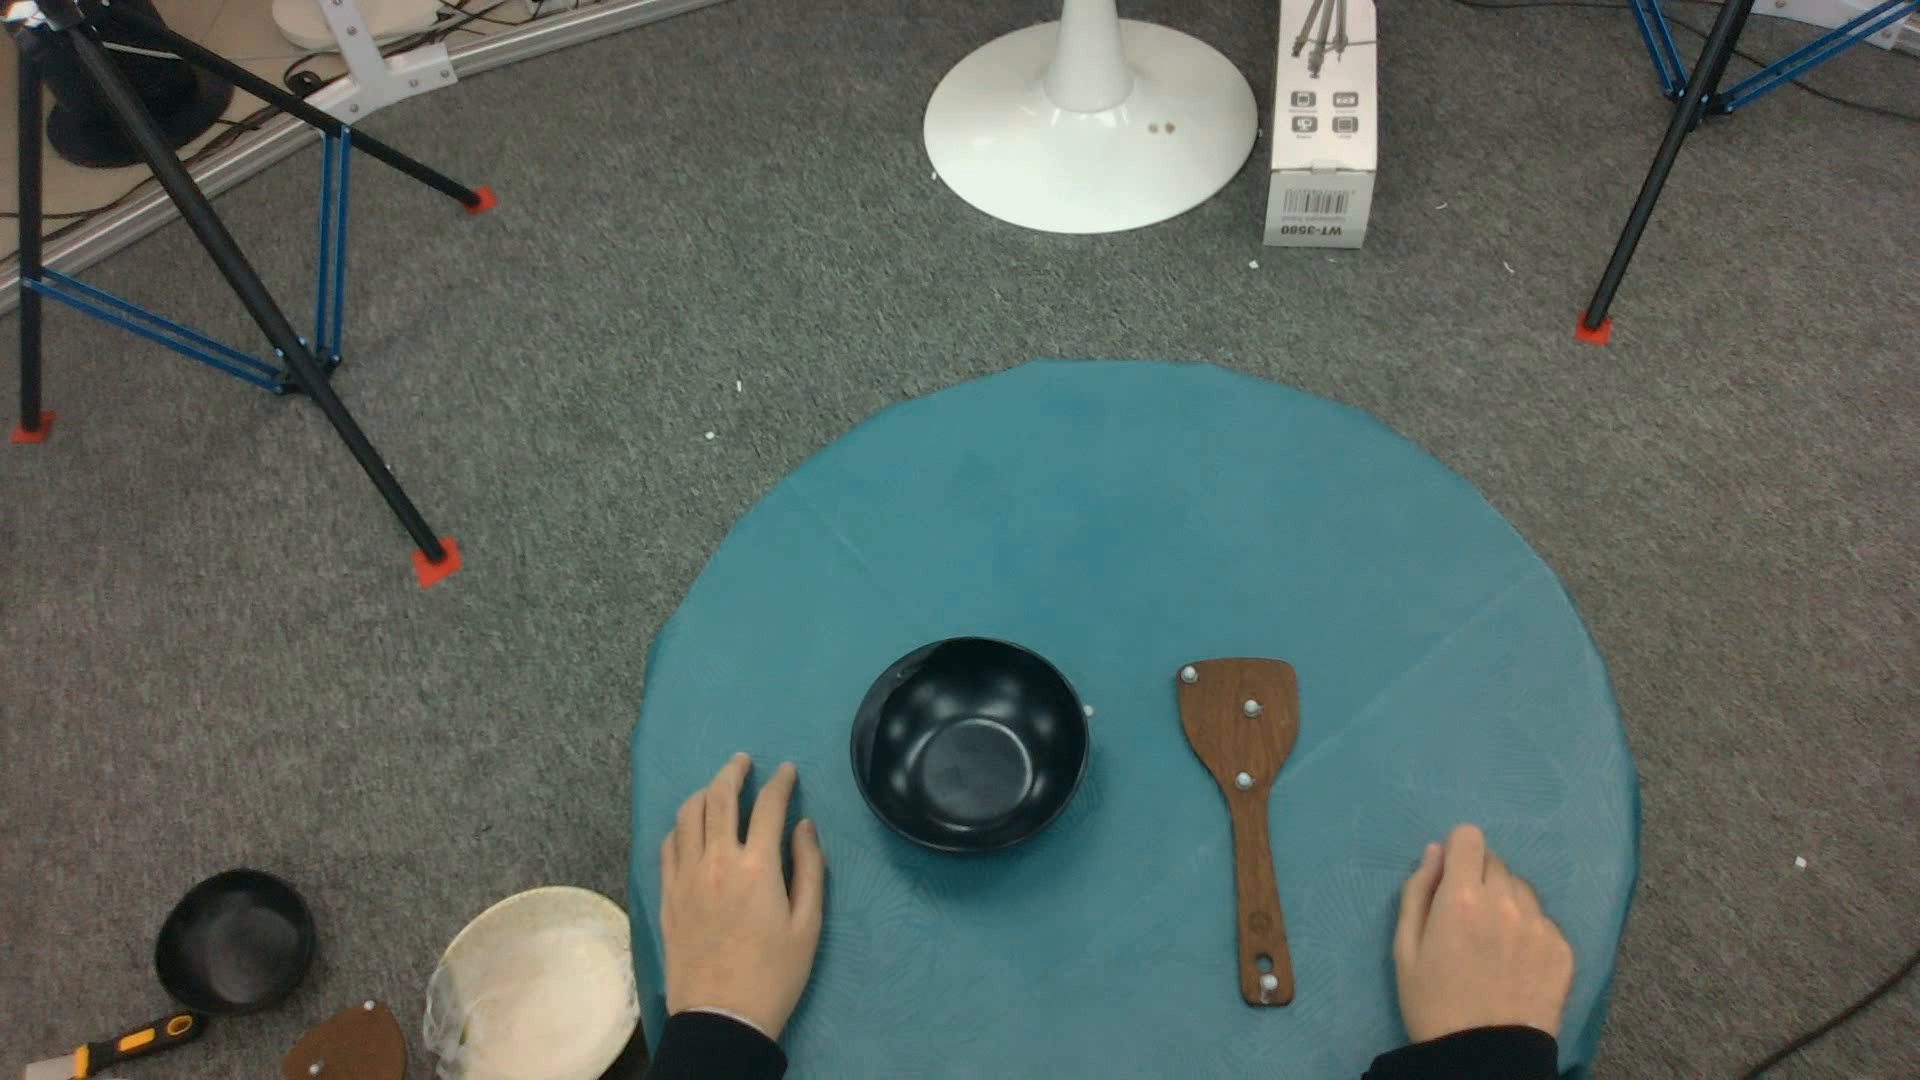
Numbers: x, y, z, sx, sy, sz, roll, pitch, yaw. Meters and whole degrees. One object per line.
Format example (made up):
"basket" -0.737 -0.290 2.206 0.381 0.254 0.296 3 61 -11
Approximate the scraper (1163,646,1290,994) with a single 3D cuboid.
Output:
"scraper" 0.161 0.155 0.796 0.076 0.011 0.212 -2 55 4

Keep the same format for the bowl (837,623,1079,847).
"bowl" -0.001 0.120 0.806 0.140 0.049 0.140 0 55 0
